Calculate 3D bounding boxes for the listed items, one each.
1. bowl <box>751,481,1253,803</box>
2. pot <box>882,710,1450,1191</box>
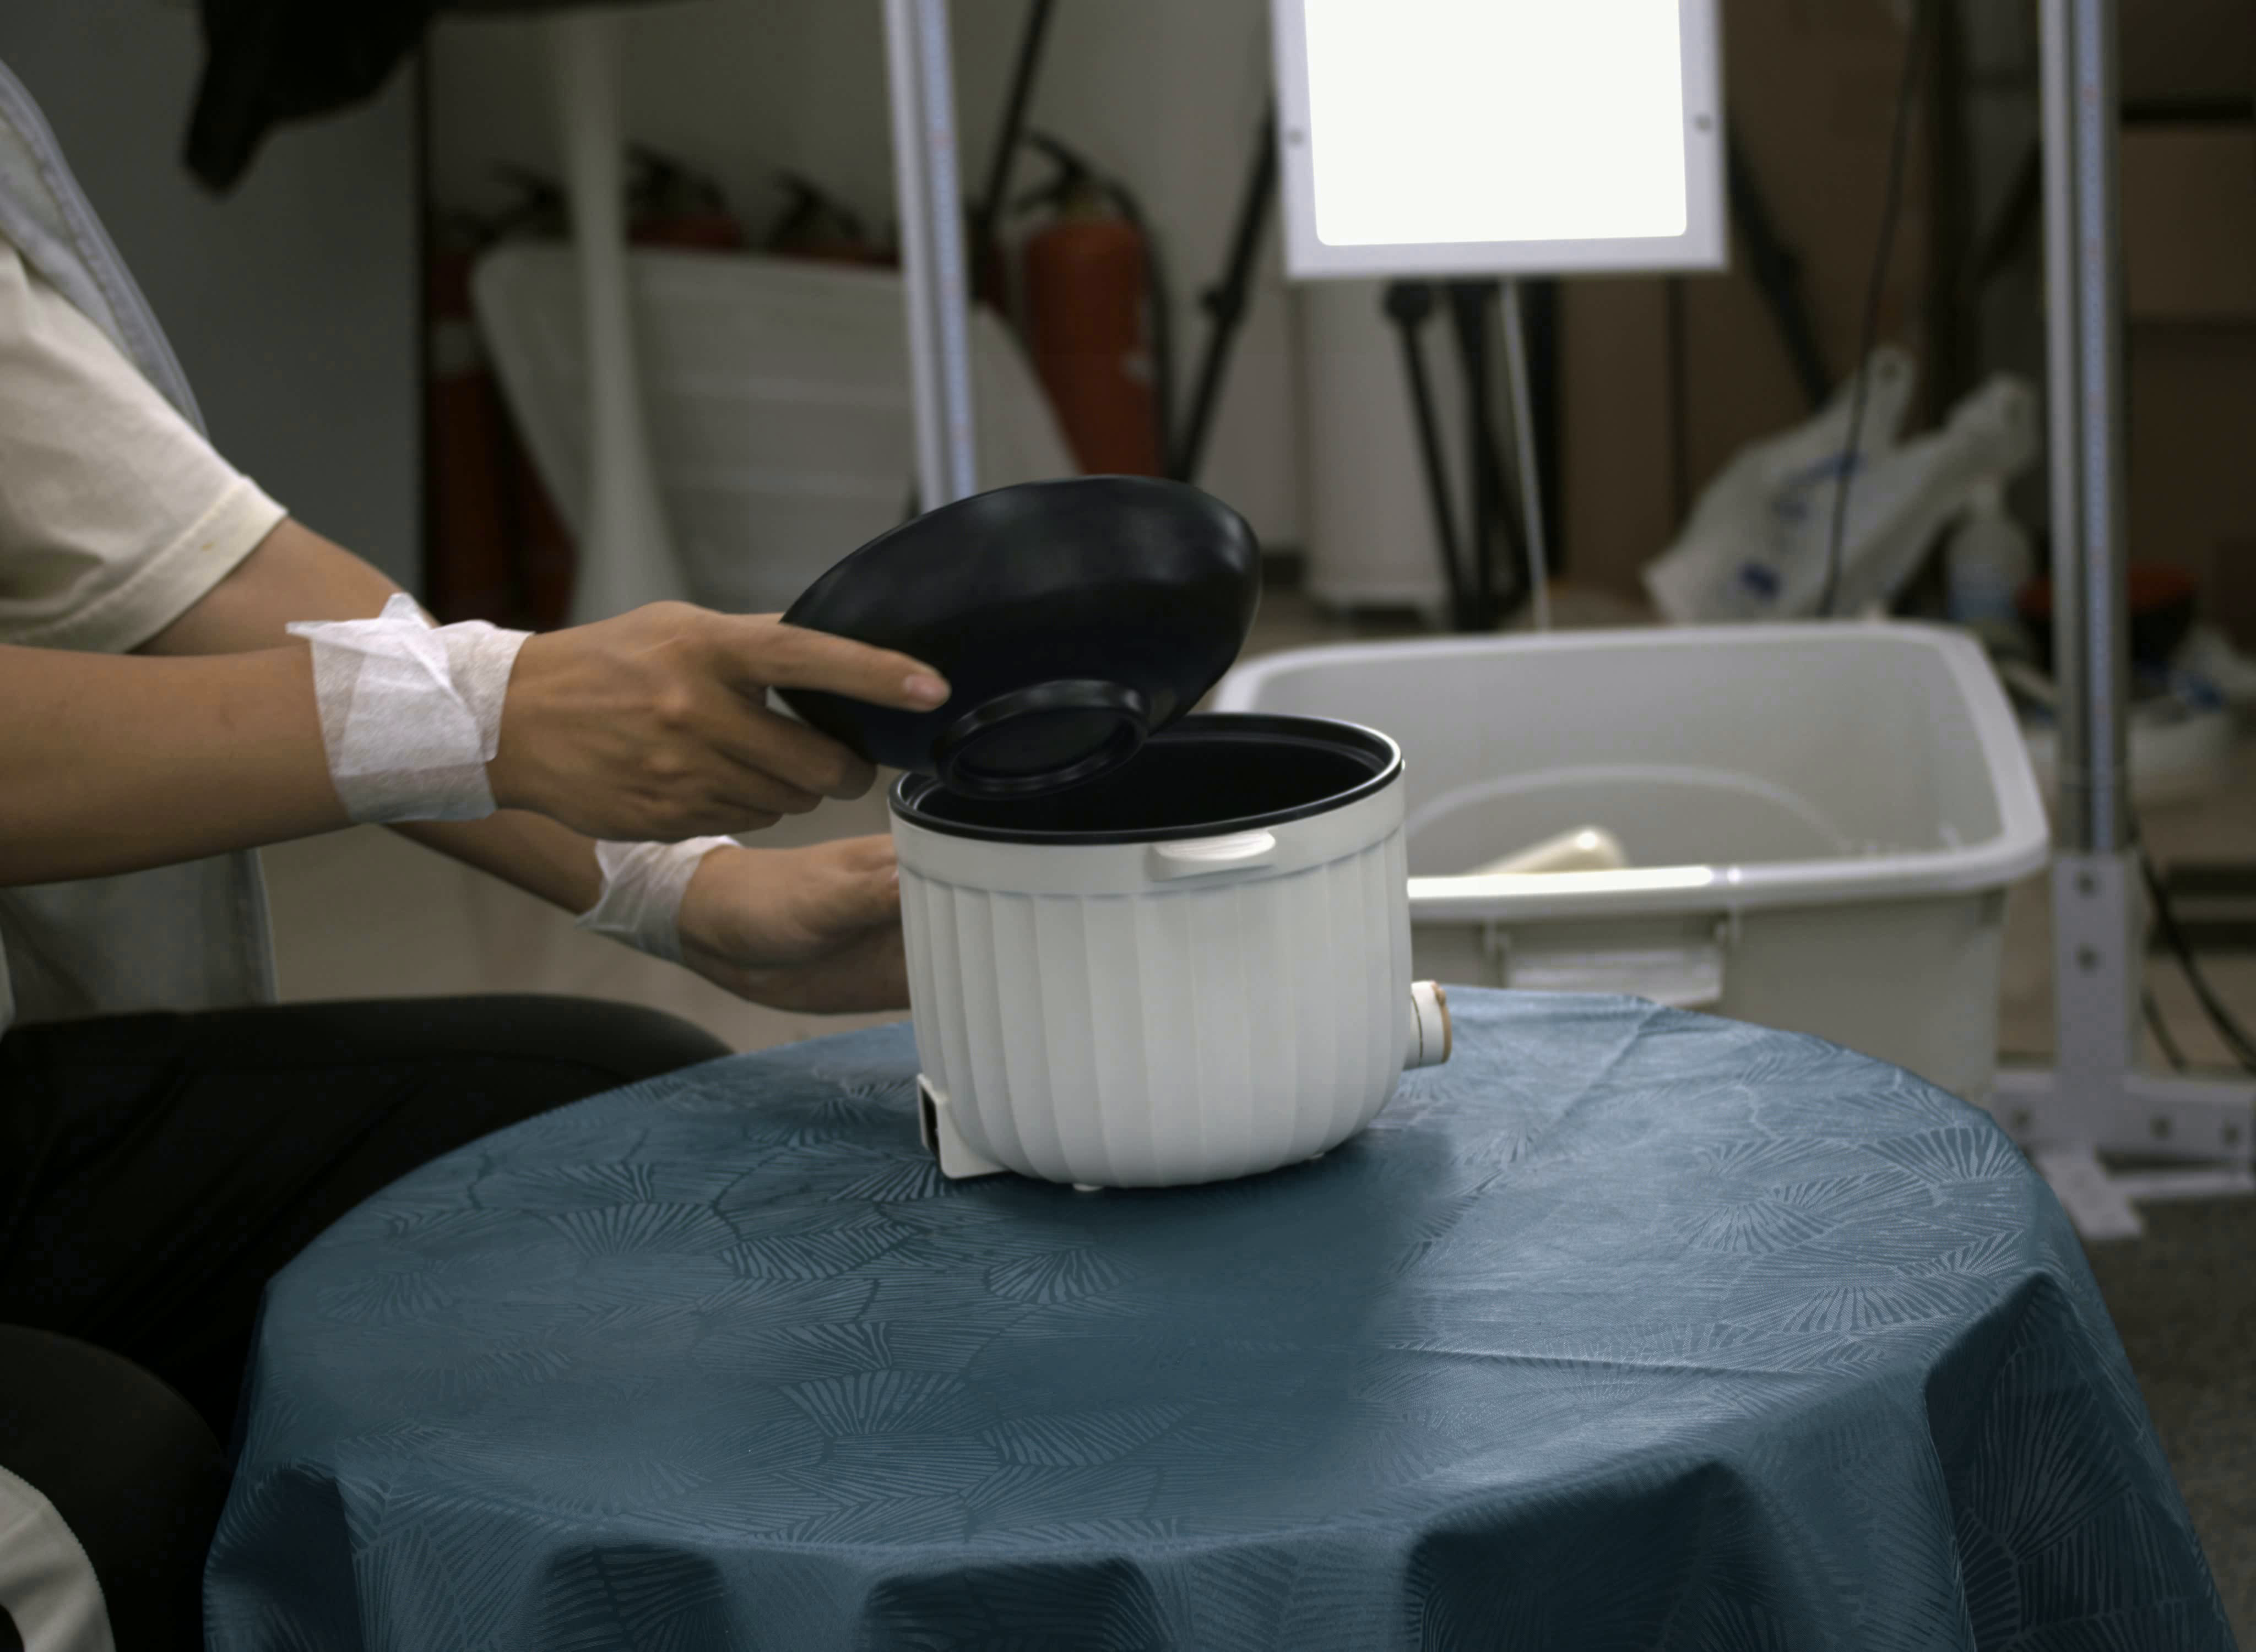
[{"bbox_3d":[-0.035,-0.051,1.768,0.168,0.067,0.139,-8,-23,-16],"label":"bowl"},{"bbox_3d":[0.015,0.044,1.939,0.188,0.143,0.242,-11,15,-11],"label":"pot"}]
